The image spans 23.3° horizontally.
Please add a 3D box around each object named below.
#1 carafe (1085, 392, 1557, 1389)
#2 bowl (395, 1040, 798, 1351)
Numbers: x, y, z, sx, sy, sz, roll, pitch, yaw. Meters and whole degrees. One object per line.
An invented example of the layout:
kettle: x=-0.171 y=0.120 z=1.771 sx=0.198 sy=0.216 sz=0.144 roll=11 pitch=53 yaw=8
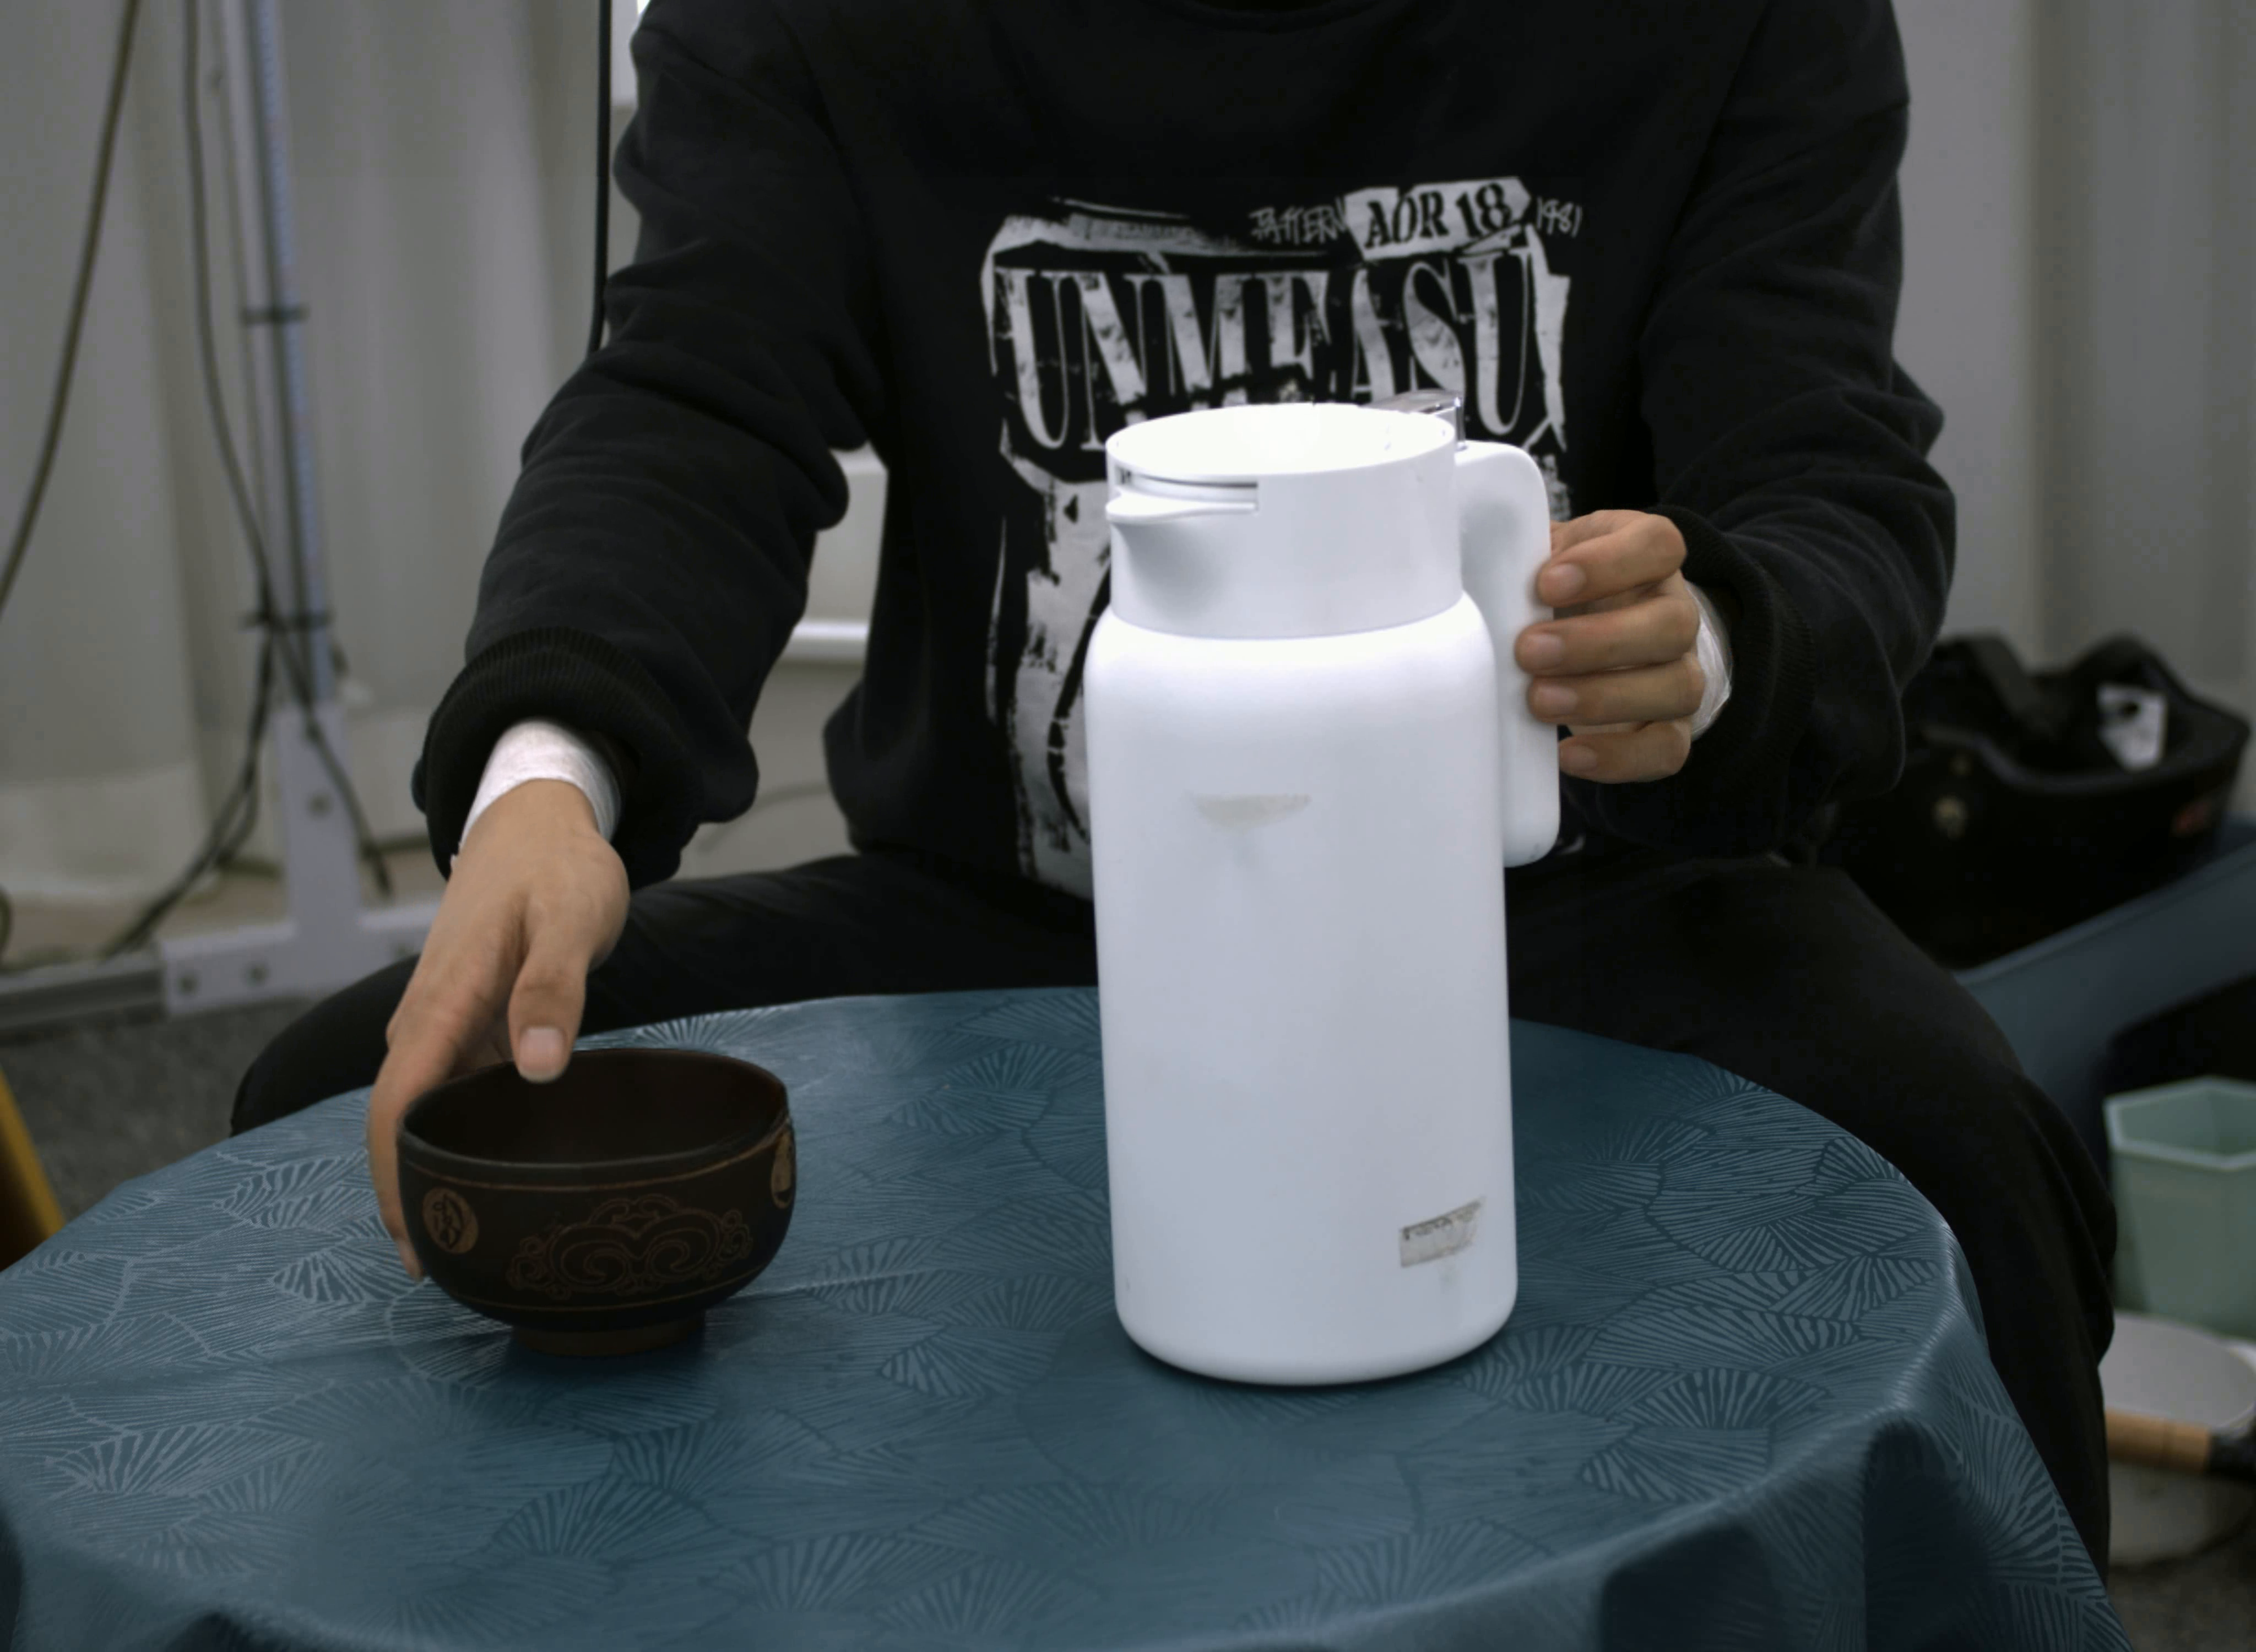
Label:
carafe: x=0.060 y=0.014 z=1.568 sx=0.124 sy=0.268 sz=0.172 roll=7 pitch=17 yaw=41
bowl: x=-0.155 y=0.113 z=1.610 sx=0.117 sy=0.069 sz=0.119 roll=-3 pitch=14 yaw=0
